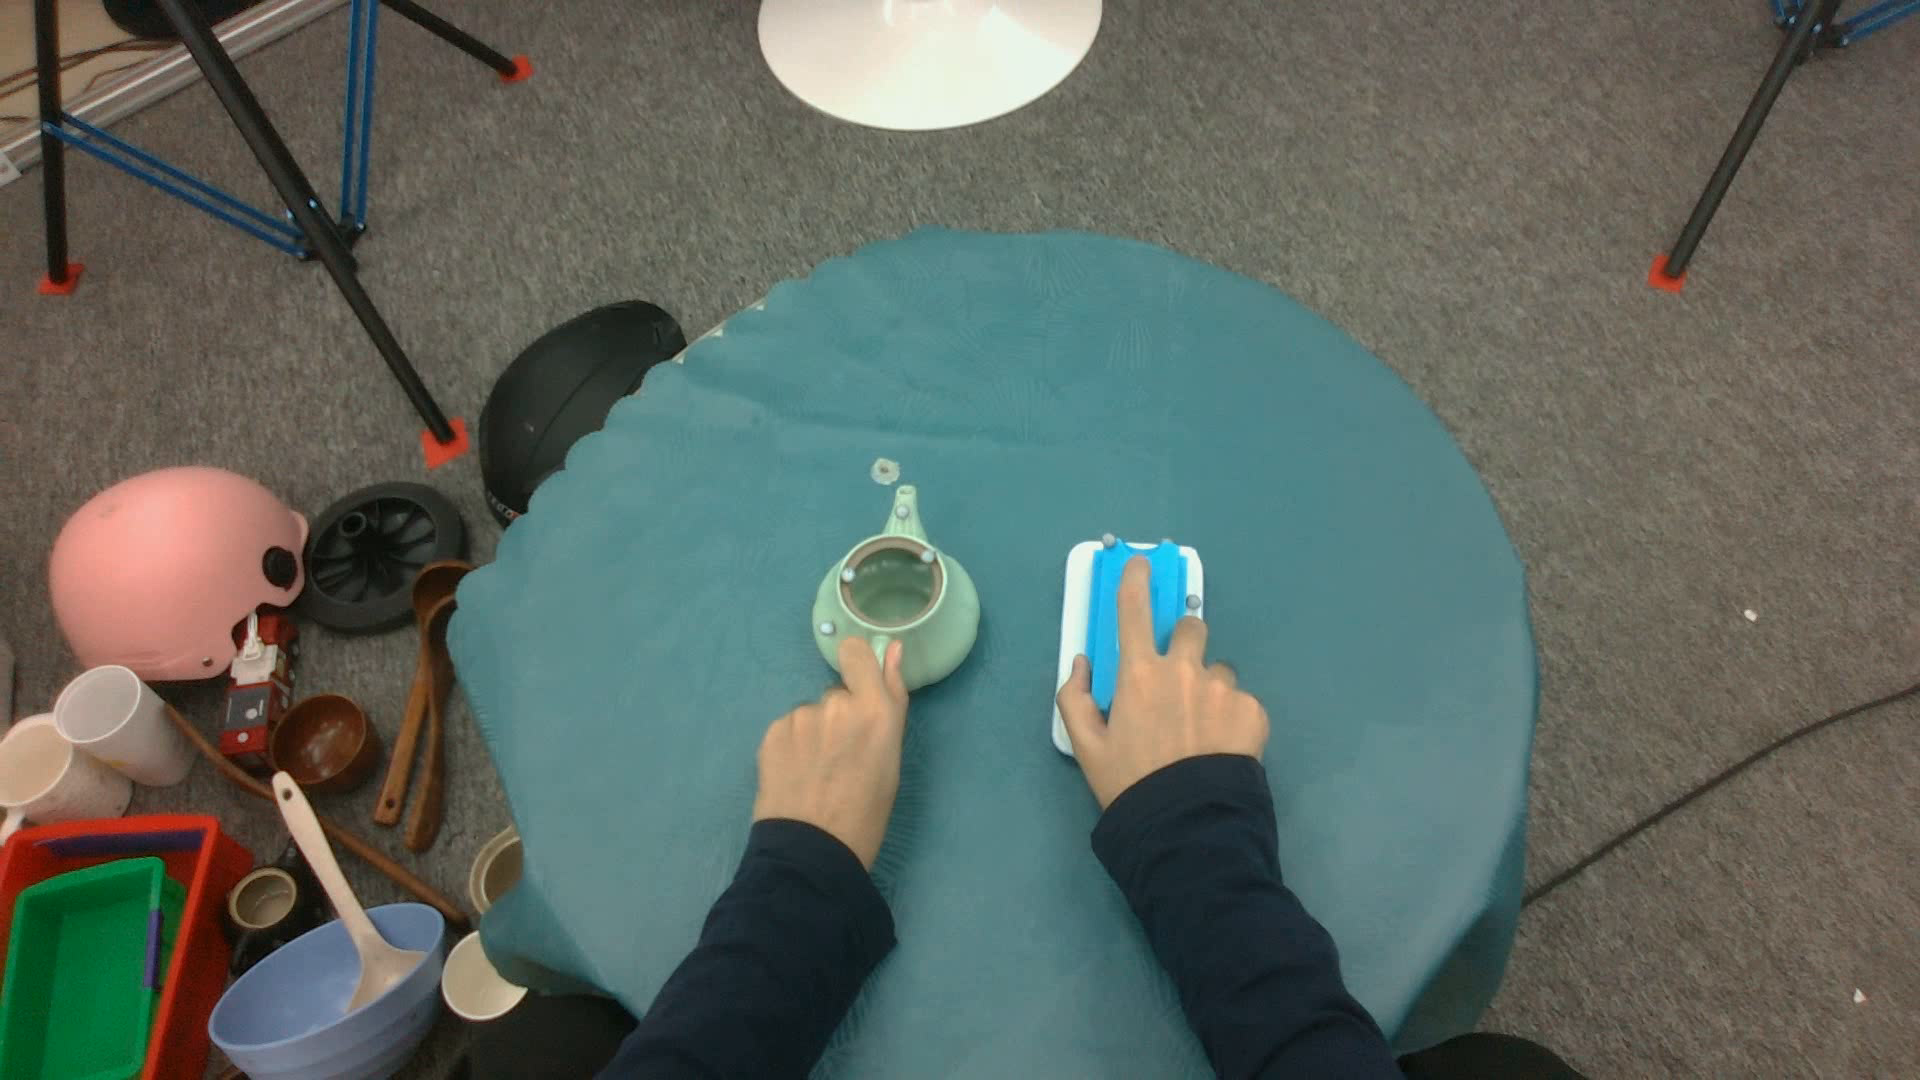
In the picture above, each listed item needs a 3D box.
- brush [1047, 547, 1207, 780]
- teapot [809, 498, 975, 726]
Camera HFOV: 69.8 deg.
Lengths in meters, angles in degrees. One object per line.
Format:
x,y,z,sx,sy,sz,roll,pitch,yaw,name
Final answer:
0.095,0.061,0.771,0.084,0.055,0.144,4,55,11,brush
-0.040,0.047,0.791,0.096,0.061,0.137,4,57,3,teapot
